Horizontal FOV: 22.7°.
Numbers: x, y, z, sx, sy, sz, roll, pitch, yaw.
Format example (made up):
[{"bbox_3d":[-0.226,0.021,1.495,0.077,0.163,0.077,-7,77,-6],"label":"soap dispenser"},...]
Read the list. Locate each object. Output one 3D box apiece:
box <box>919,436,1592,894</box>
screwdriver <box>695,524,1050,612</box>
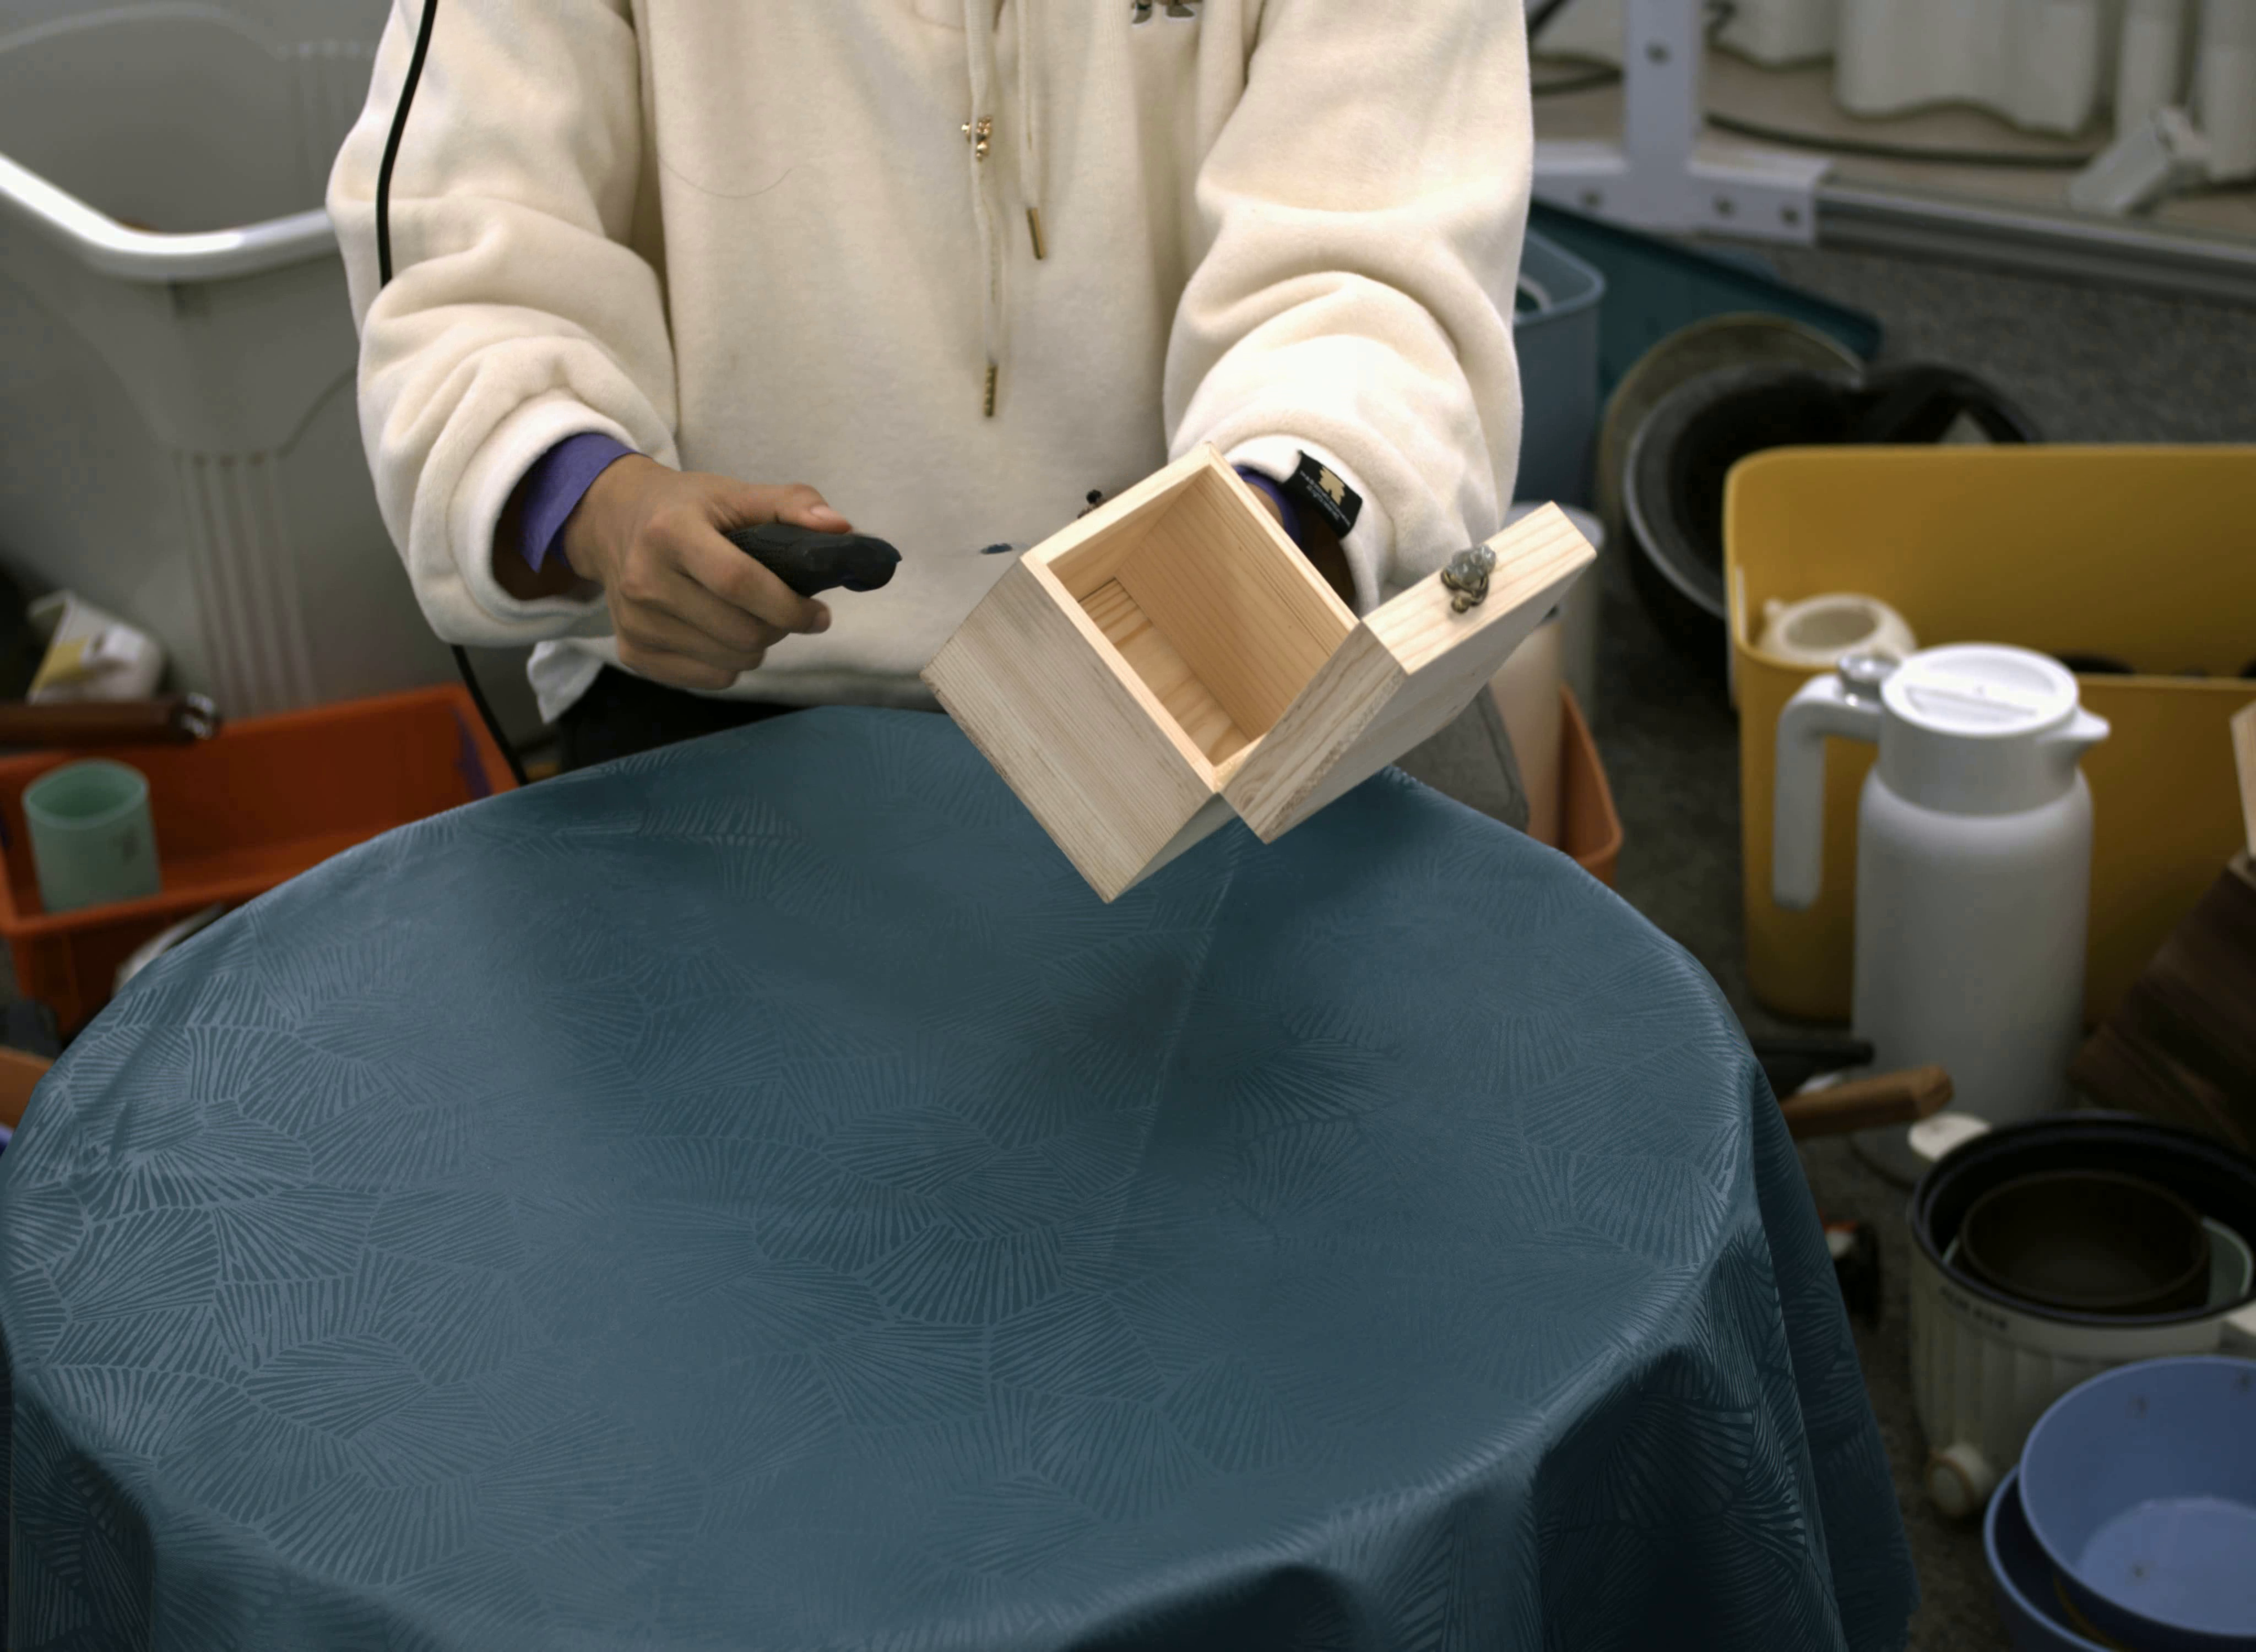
[{"bbox_3d":[0.038,-0.072,1.837,0.104,0.181,0.134,-32,80,-41],"label":"box"},{"bbox_3d":[-0.088,-0.089,1.930,0.032,0.031,0.196,-24,15,-35],"label":"screwdriver"}]
